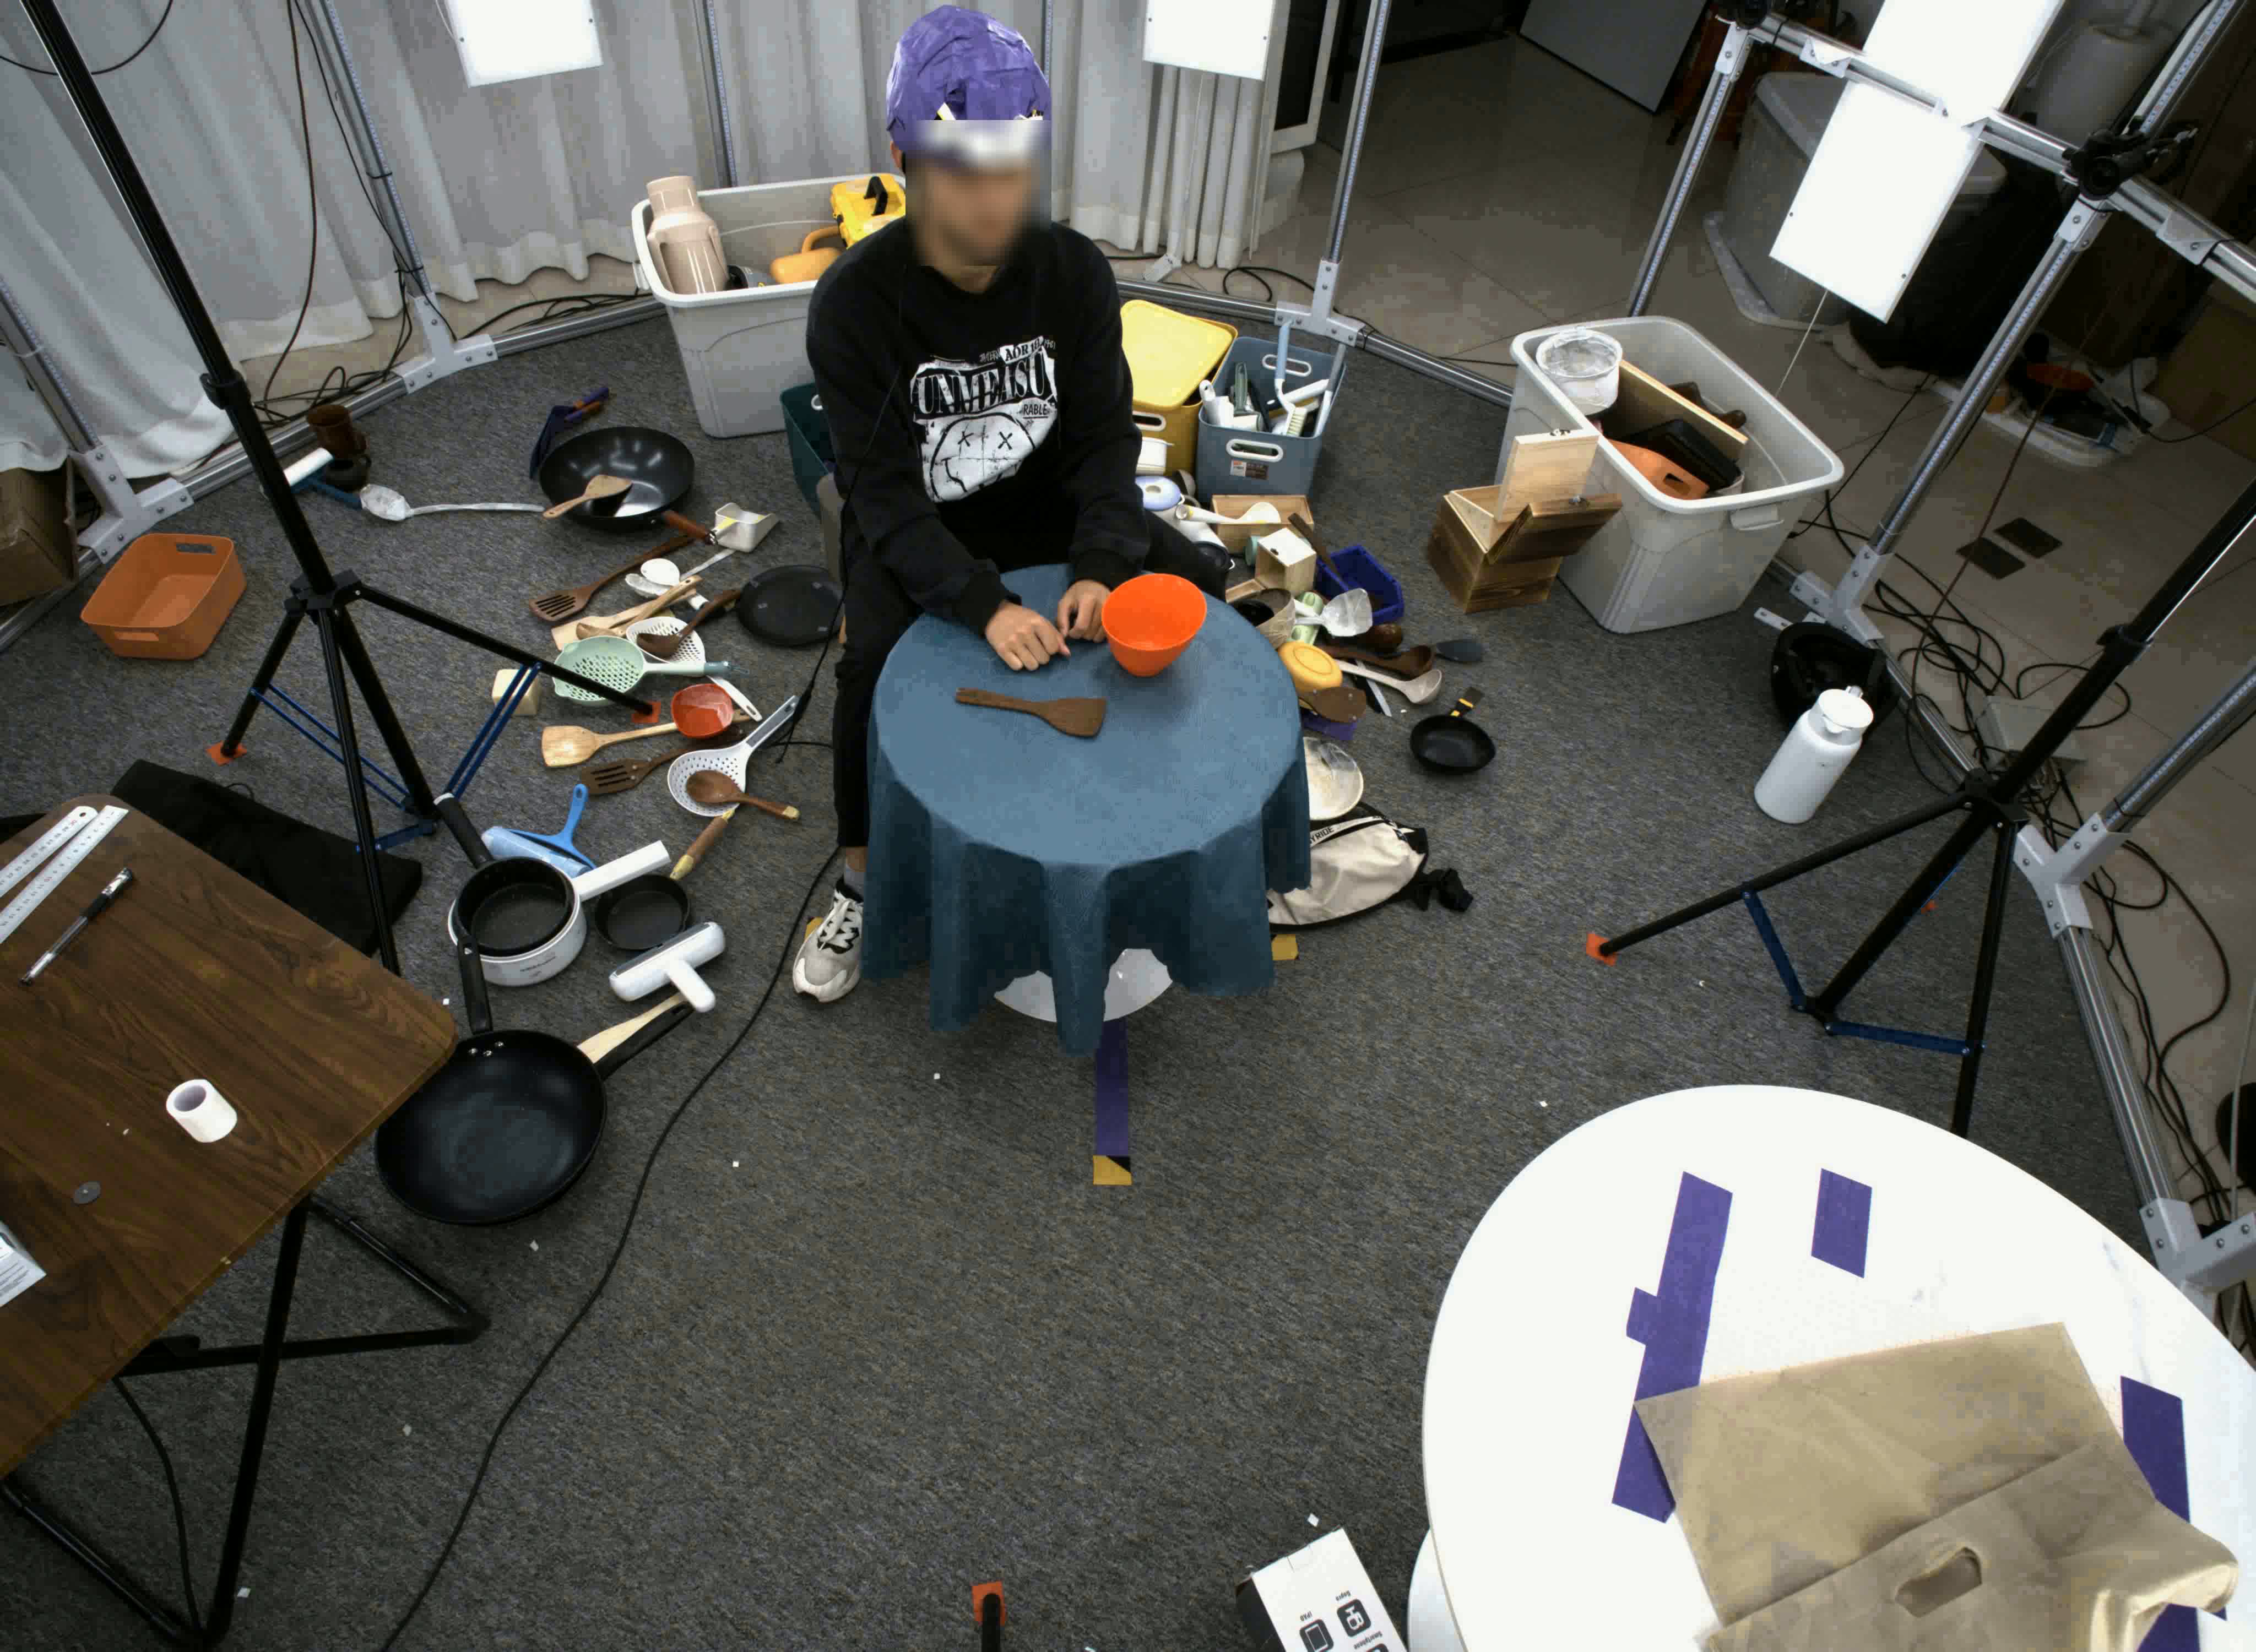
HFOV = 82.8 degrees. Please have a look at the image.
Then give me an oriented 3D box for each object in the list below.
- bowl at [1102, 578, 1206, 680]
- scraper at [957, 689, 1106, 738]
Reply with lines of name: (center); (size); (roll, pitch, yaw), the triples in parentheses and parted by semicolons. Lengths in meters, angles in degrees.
bowl: (0.036, -0.275, 1.862); (0.148, 0.102, 0.152); (2, 49, -3)
scraper: (-0.137, -0.167, 1.815); (0.211, 0.010, 0.077); (11, 48, 7)
